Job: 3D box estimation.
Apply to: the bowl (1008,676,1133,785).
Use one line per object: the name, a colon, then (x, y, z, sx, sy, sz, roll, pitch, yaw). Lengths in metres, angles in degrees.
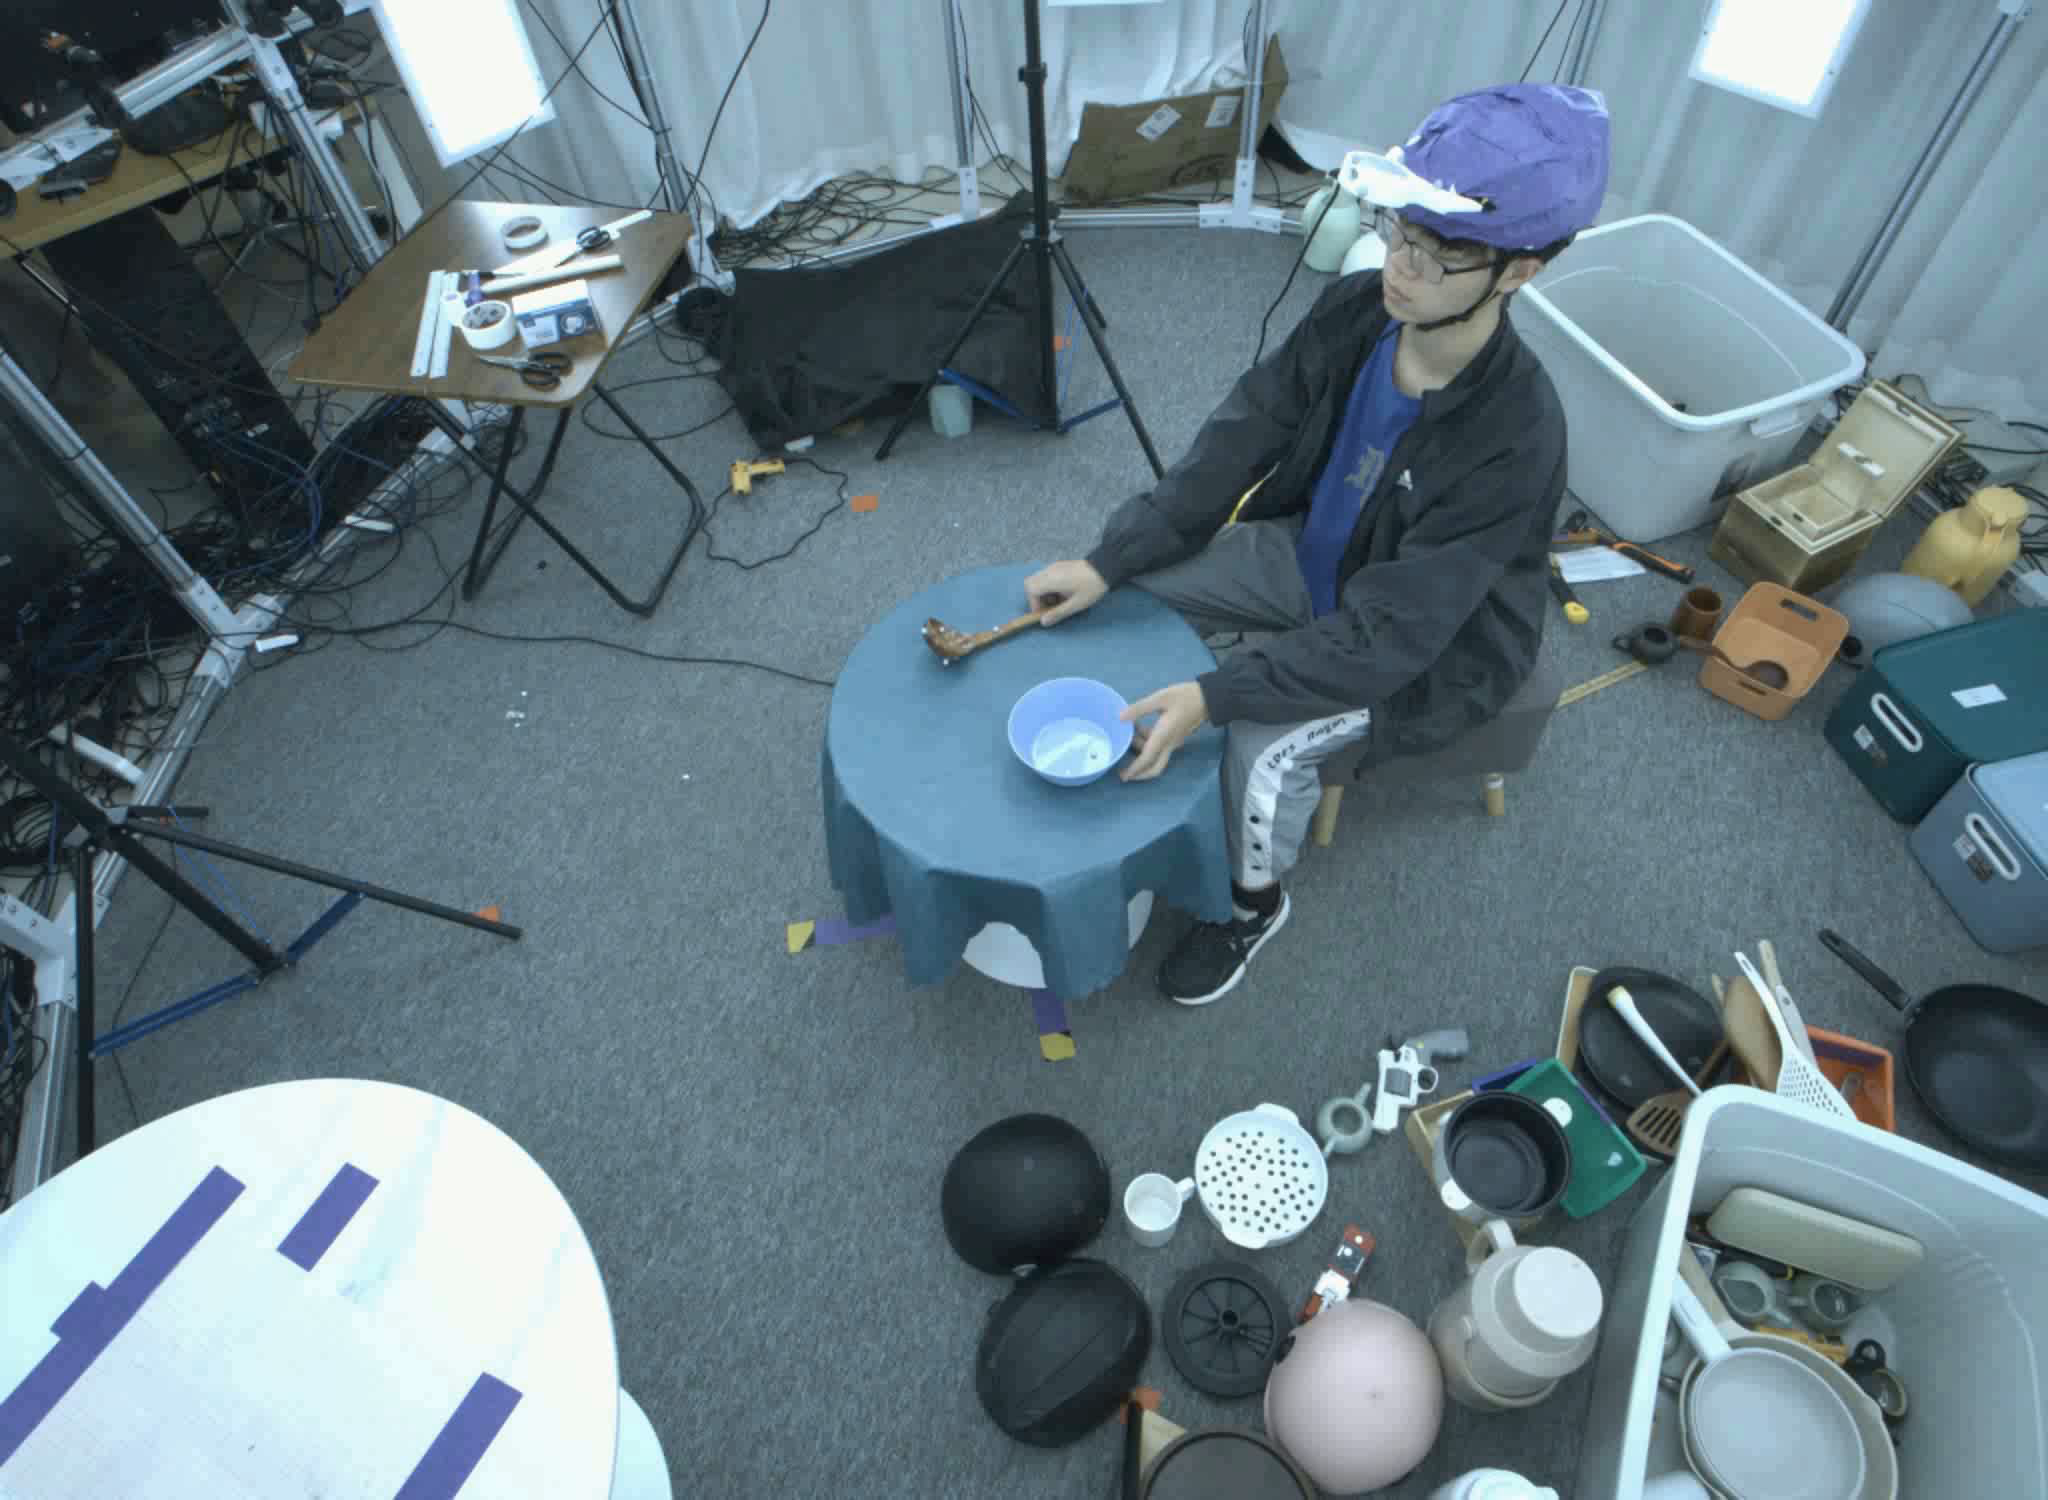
bowl: (0.067, -0.017, 1.744, 0.176, 0.071, 0.174, 0, 55, 2)

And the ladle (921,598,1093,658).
ladle: (-0.025, -0.207, 1.879, 0.276, 0.077, 0.080, -20, 56, -11)
